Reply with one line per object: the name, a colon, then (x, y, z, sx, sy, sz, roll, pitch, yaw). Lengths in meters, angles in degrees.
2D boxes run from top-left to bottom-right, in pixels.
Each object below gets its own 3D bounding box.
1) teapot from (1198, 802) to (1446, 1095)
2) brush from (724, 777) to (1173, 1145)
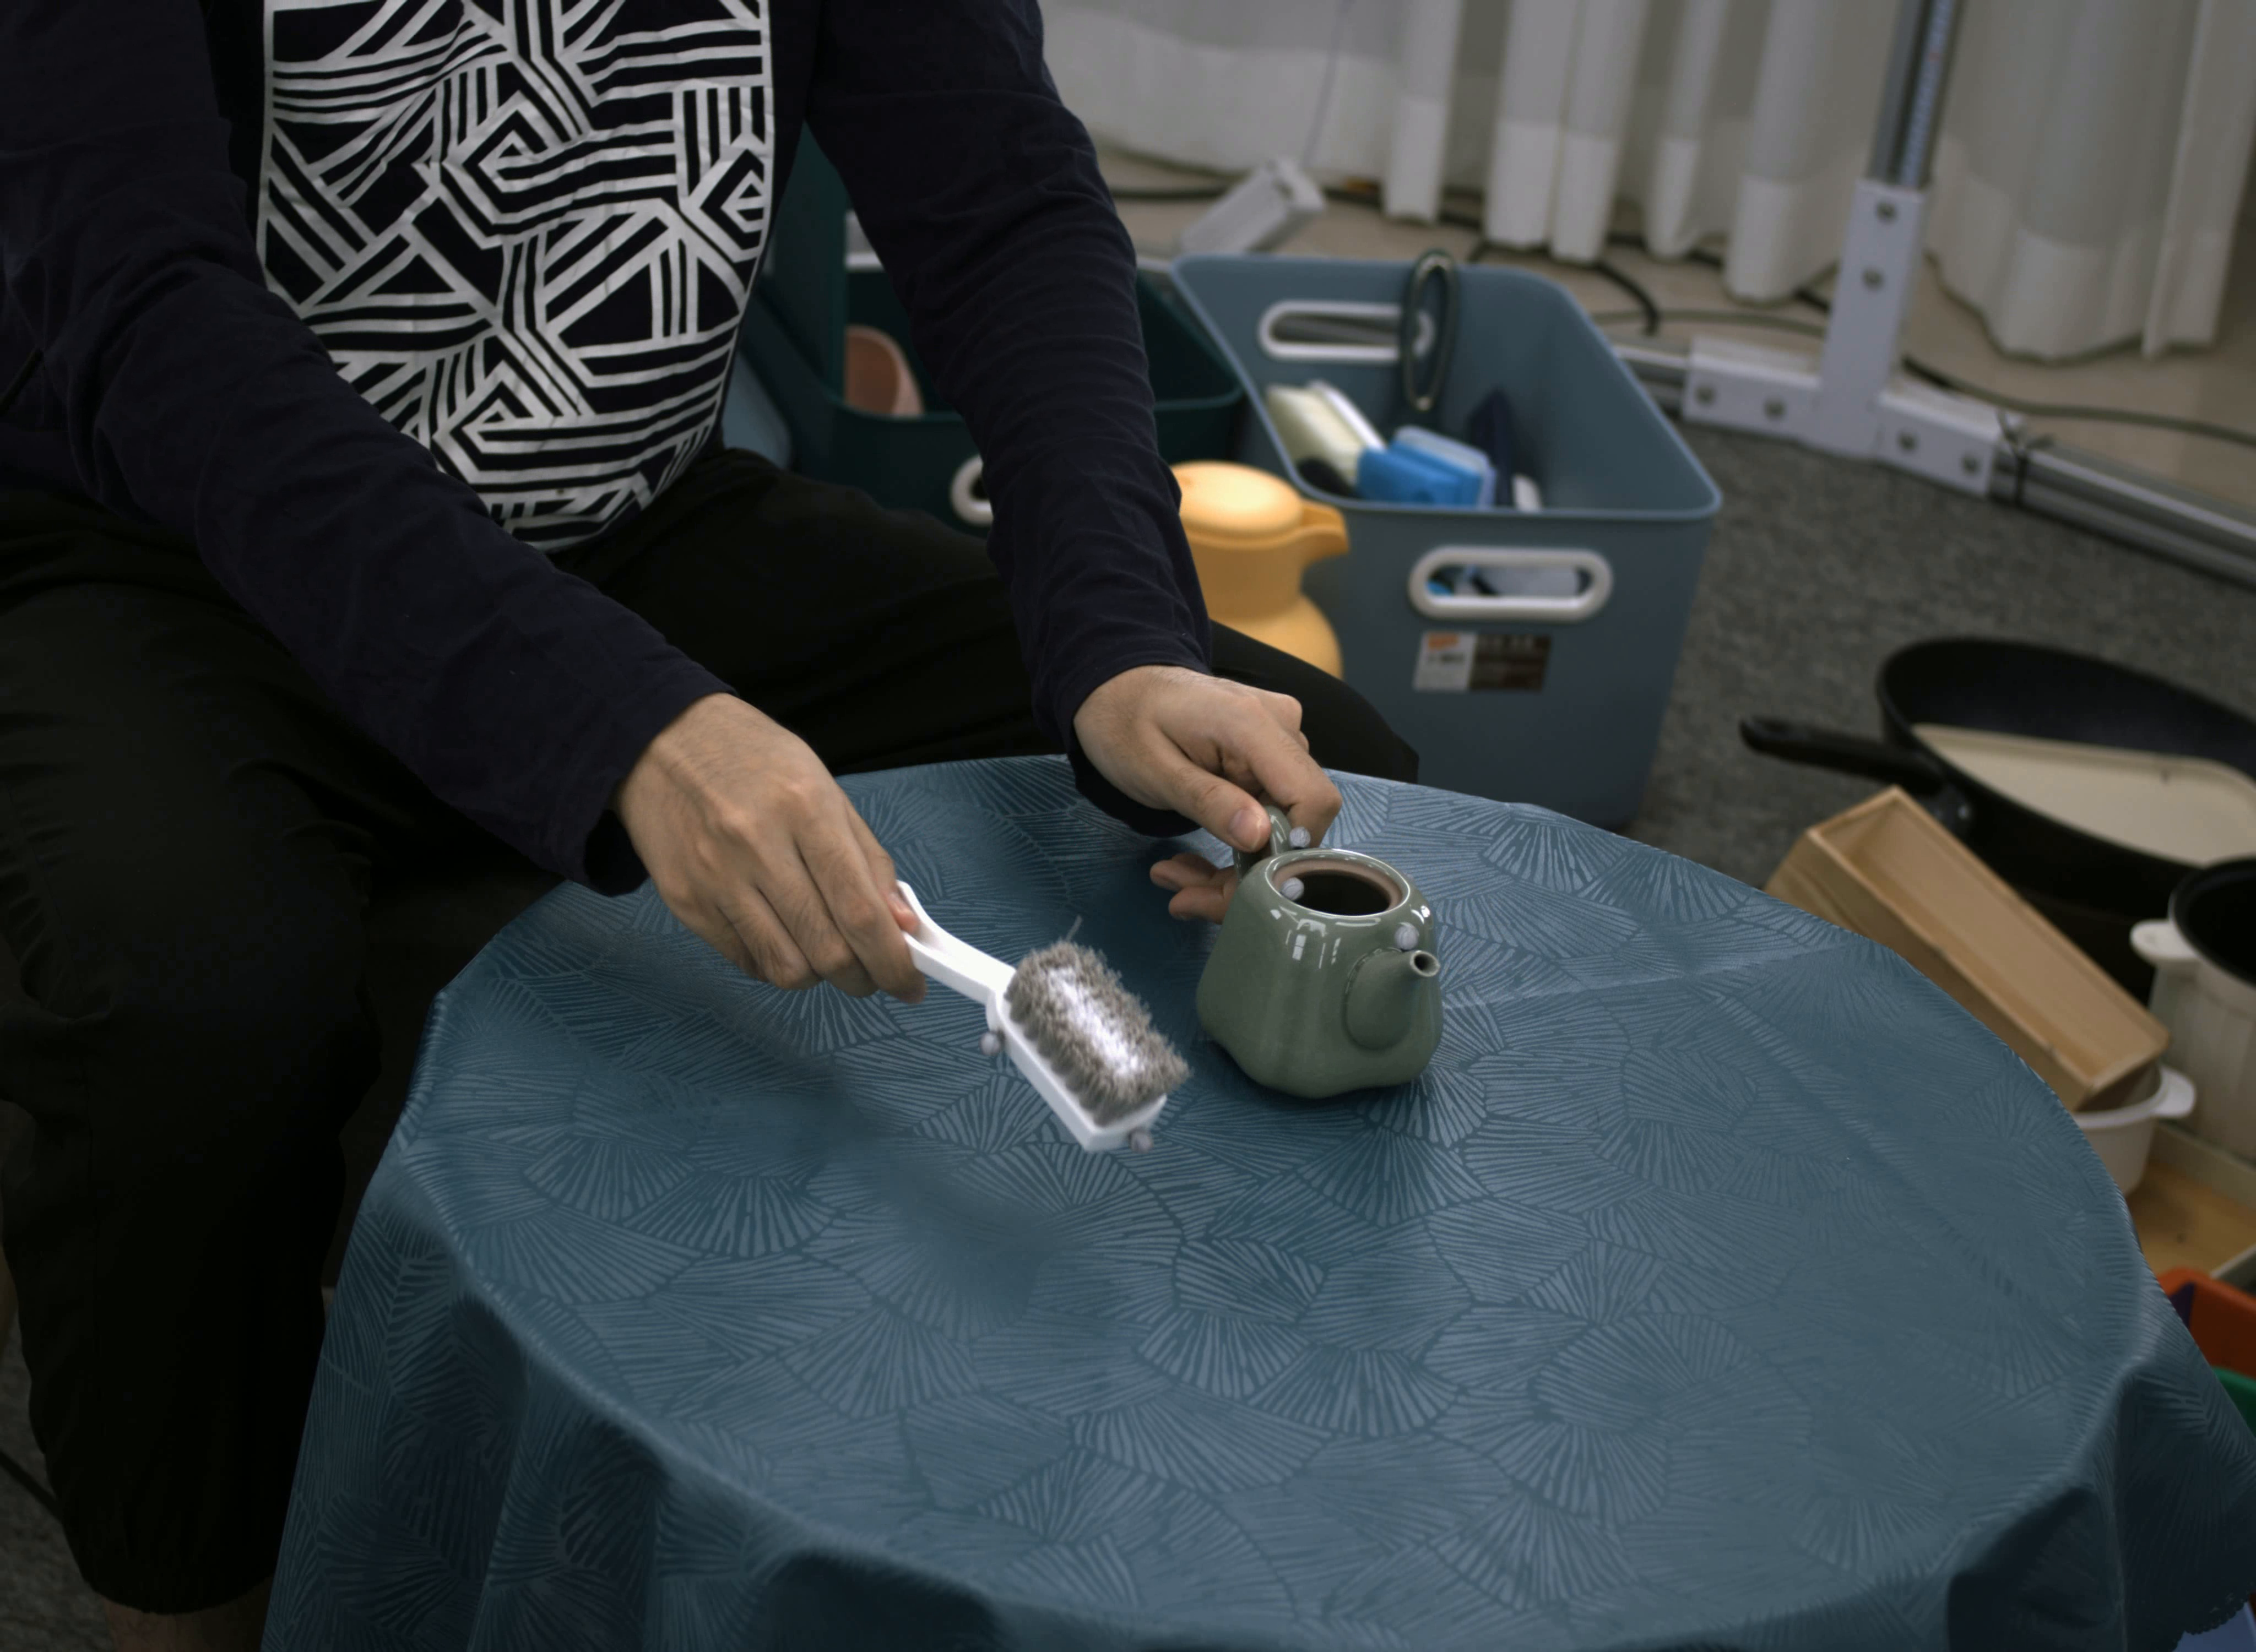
teapot: (0.071, 0.048, 1.889, 0.079, 0.075, 0.134, -8, 30, -28)
brush: (-0.067, 0.030, 1.813, 0.034, 0.050, 0.246, -26, 44, -26)
